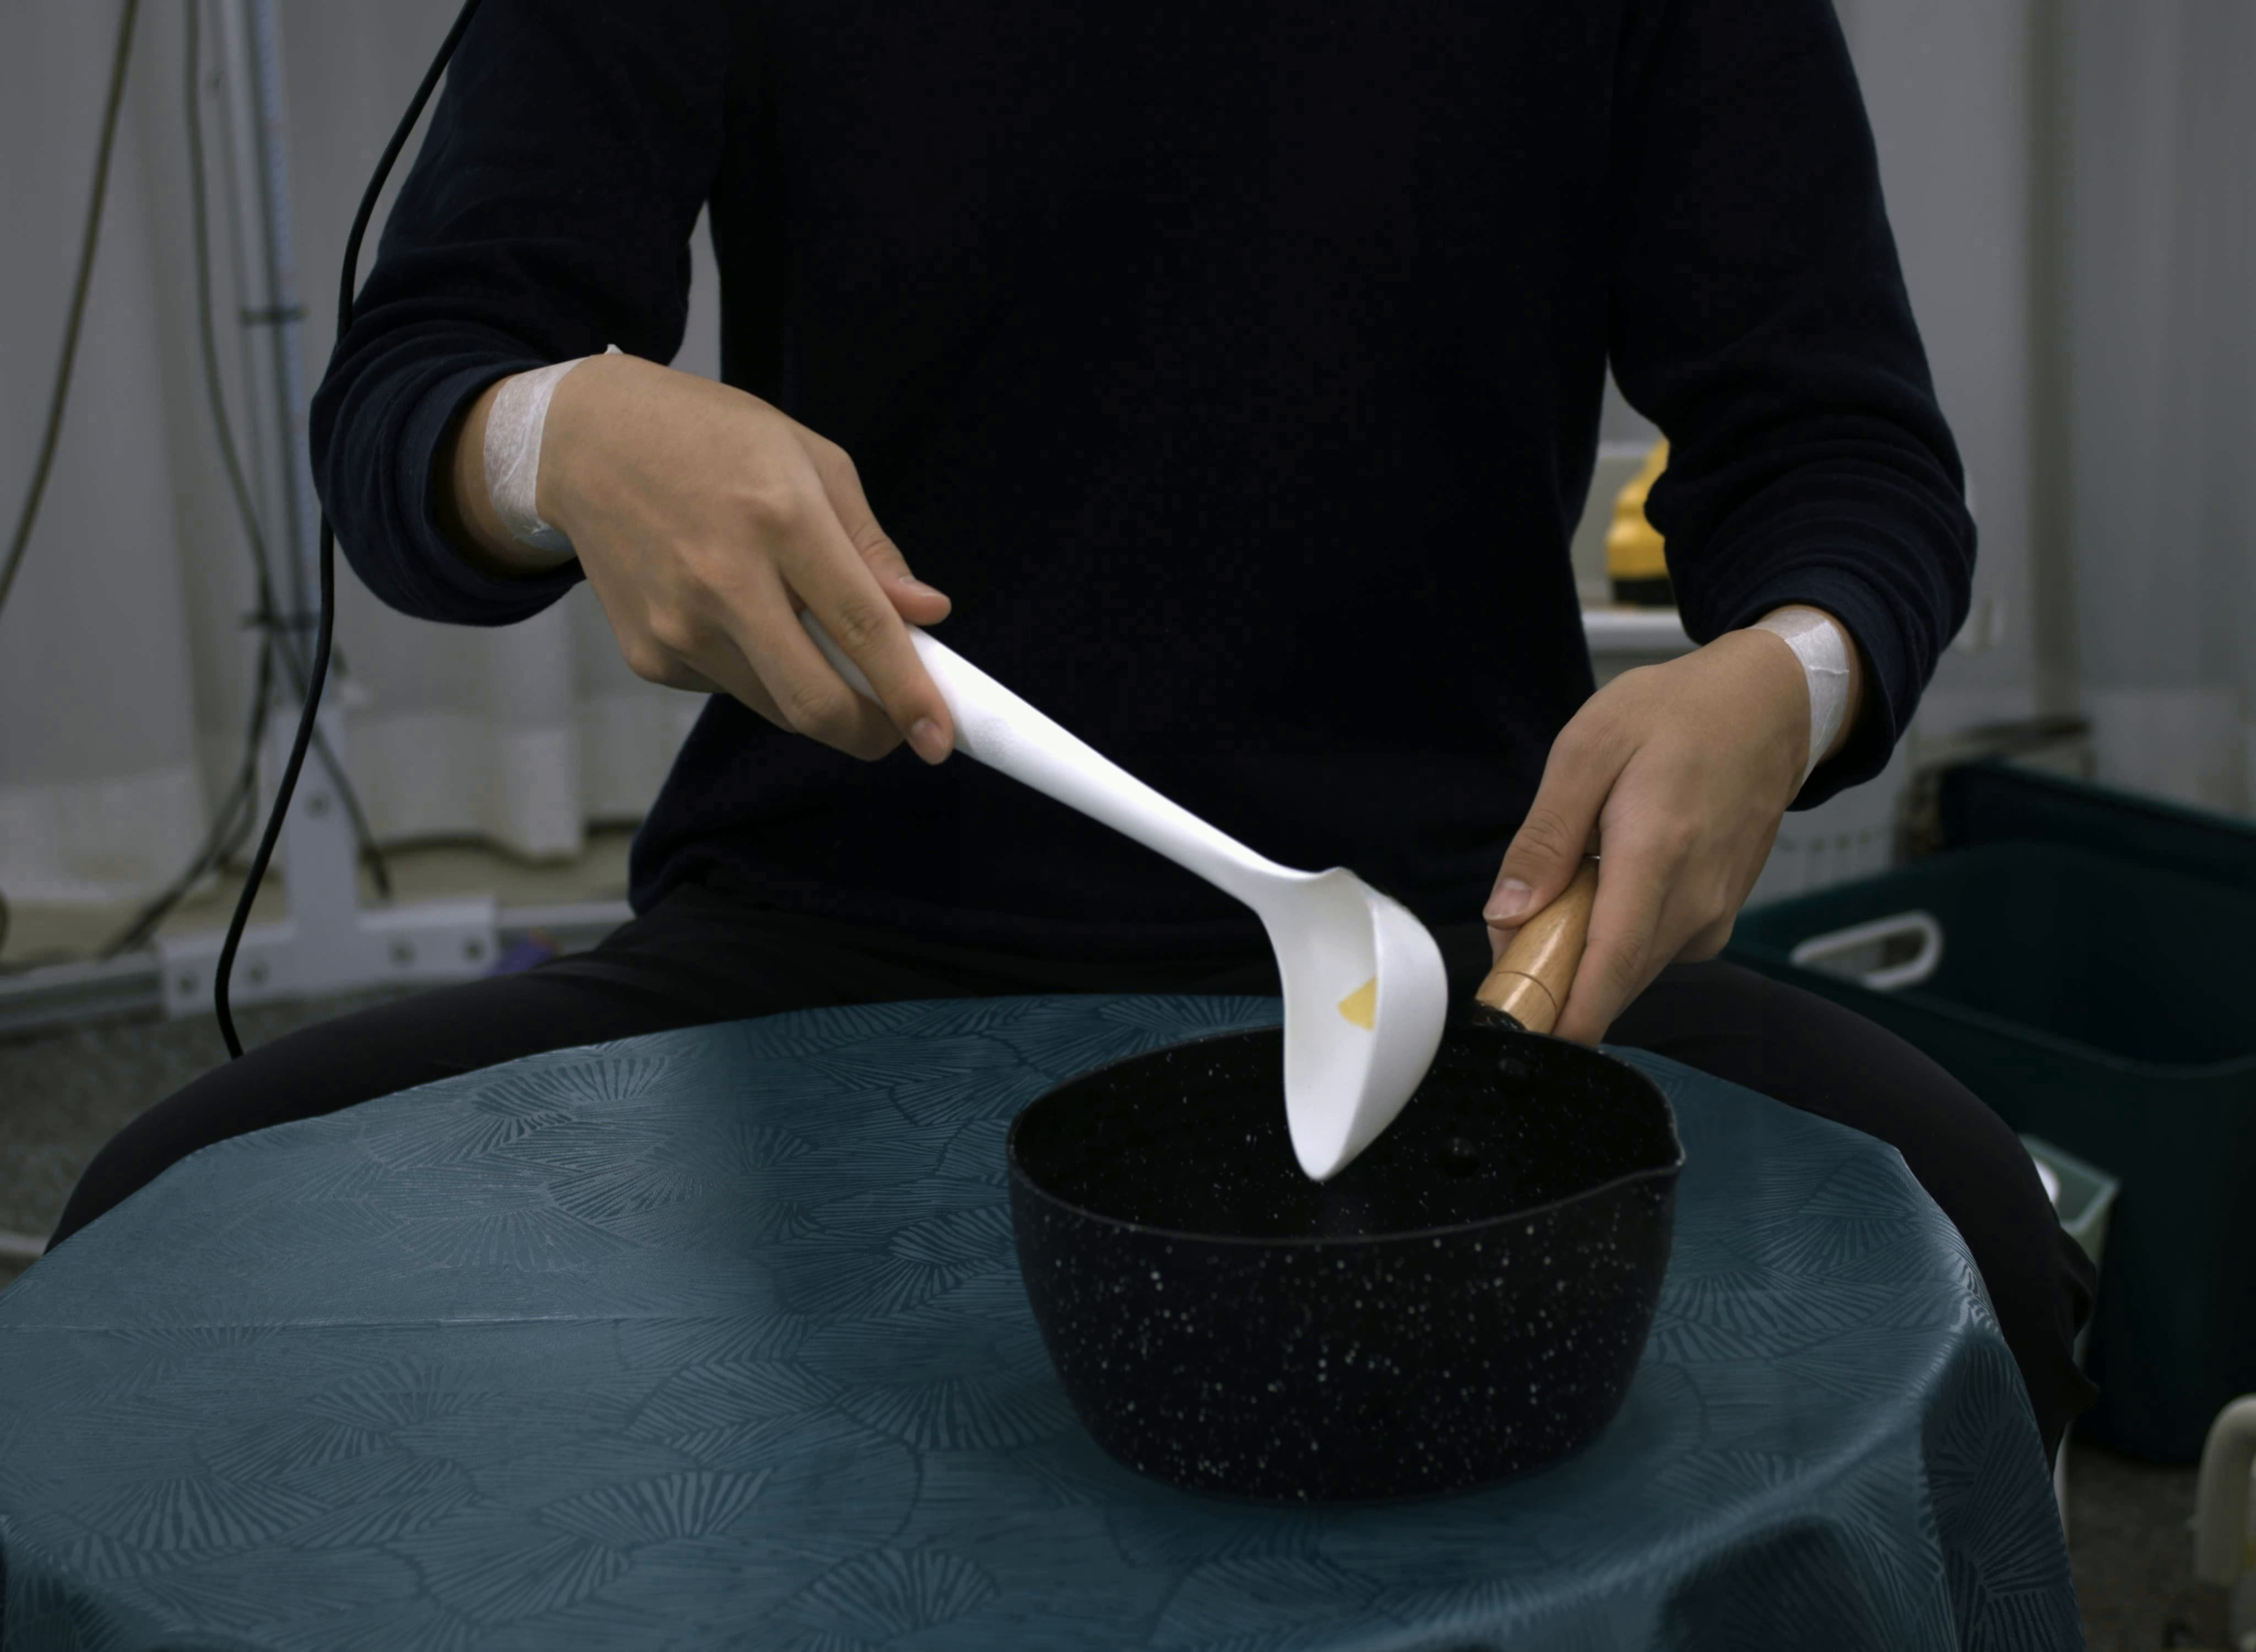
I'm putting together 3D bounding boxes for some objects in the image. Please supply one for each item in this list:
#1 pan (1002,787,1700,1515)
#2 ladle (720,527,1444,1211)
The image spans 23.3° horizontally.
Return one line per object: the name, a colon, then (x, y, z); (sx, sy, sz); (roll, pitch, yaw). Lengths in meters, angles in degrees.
pan: (0.091, 0.088, 1.579); (0.207, 0.107, 0.344); (2, 18, 24)
ladle: (-0.021, 0.002, 1.558); (0.295, 0.089, 0.070); (34, 46, 30)
